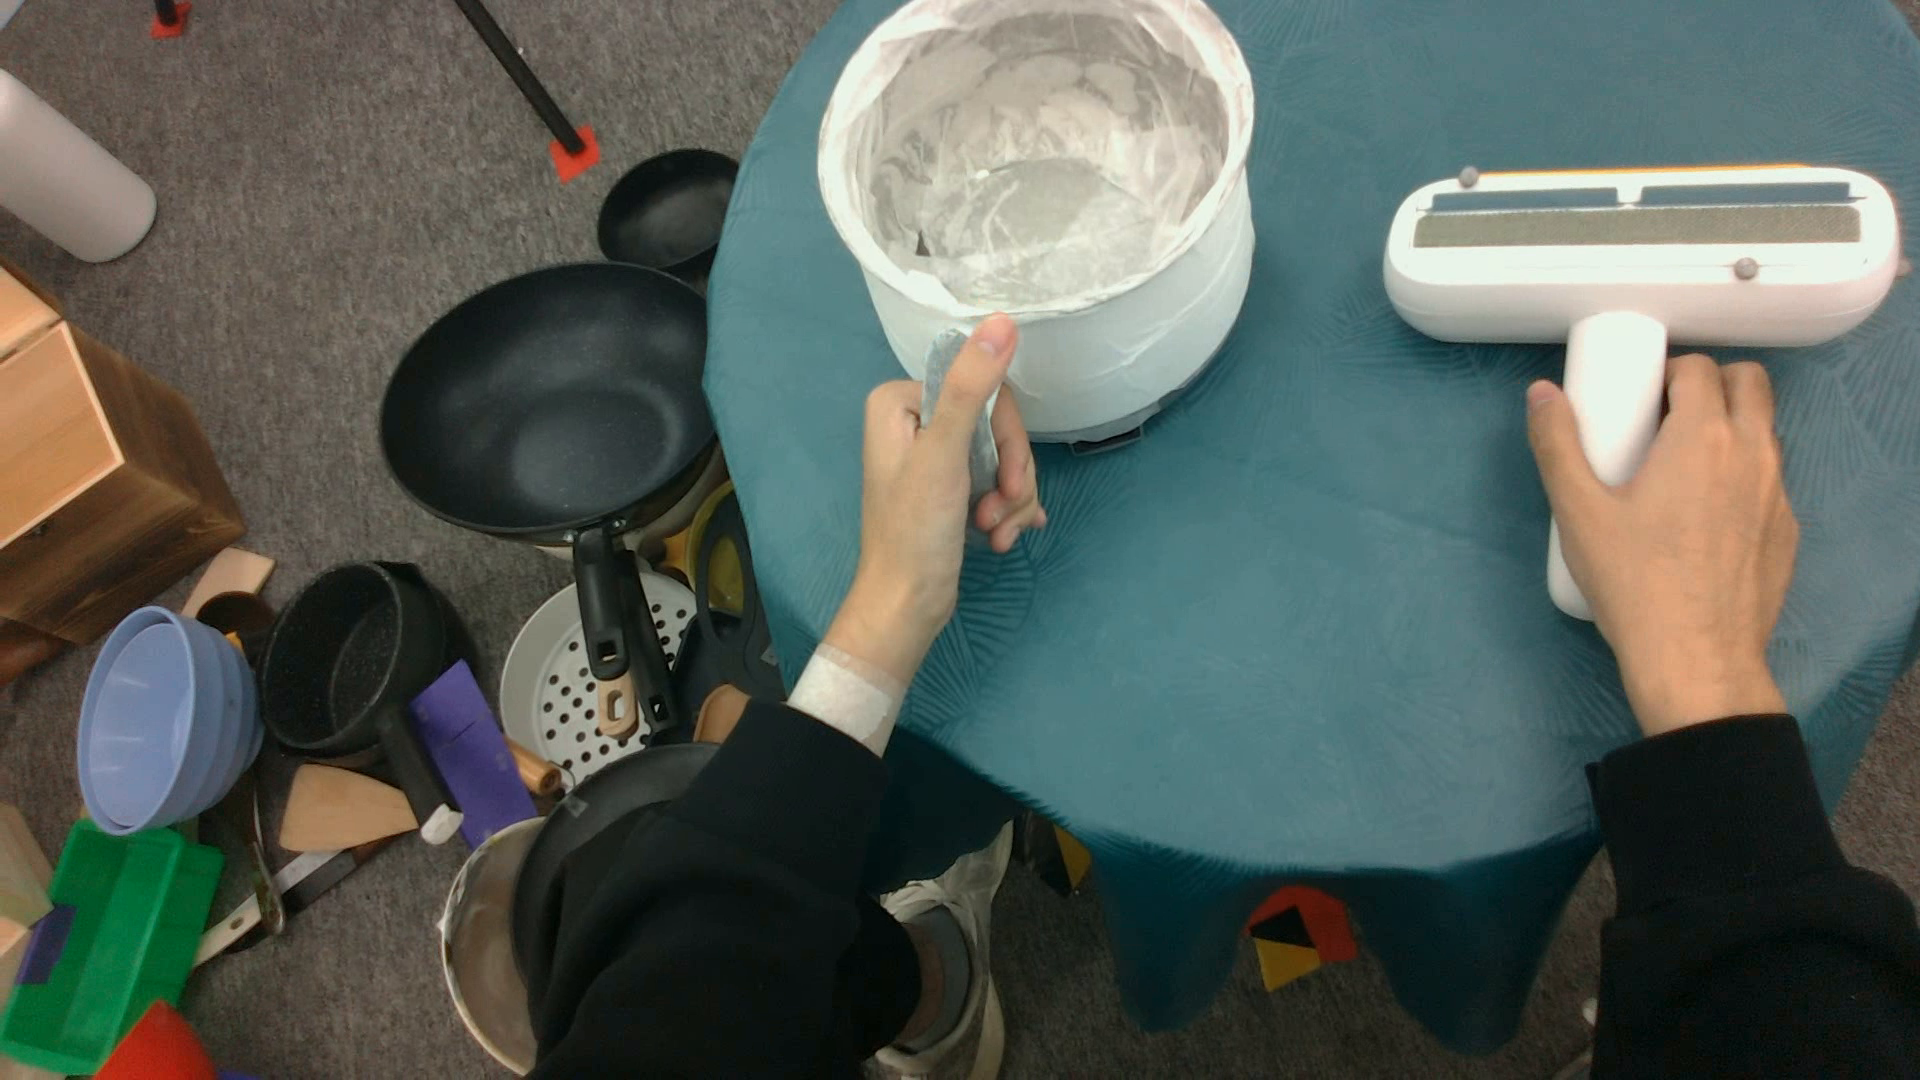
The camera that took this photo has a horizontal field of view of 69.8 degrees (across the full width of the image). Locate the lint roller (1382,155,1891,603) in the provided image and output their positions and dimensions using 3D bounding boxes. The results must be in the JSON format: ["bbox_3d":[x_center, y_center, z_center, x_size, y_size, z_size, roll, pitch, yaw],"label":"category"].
[{"bbox_3d":[0.265,-0.070,0.574,0.192,0.074,0.193,10,73,23],"label":"lint roller"}]

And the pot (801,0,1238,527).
[{"bbox_3d":[0.026,-0.127,0.604,0.178,0.136,0.234,11,70,17],"label":"pot"}]
